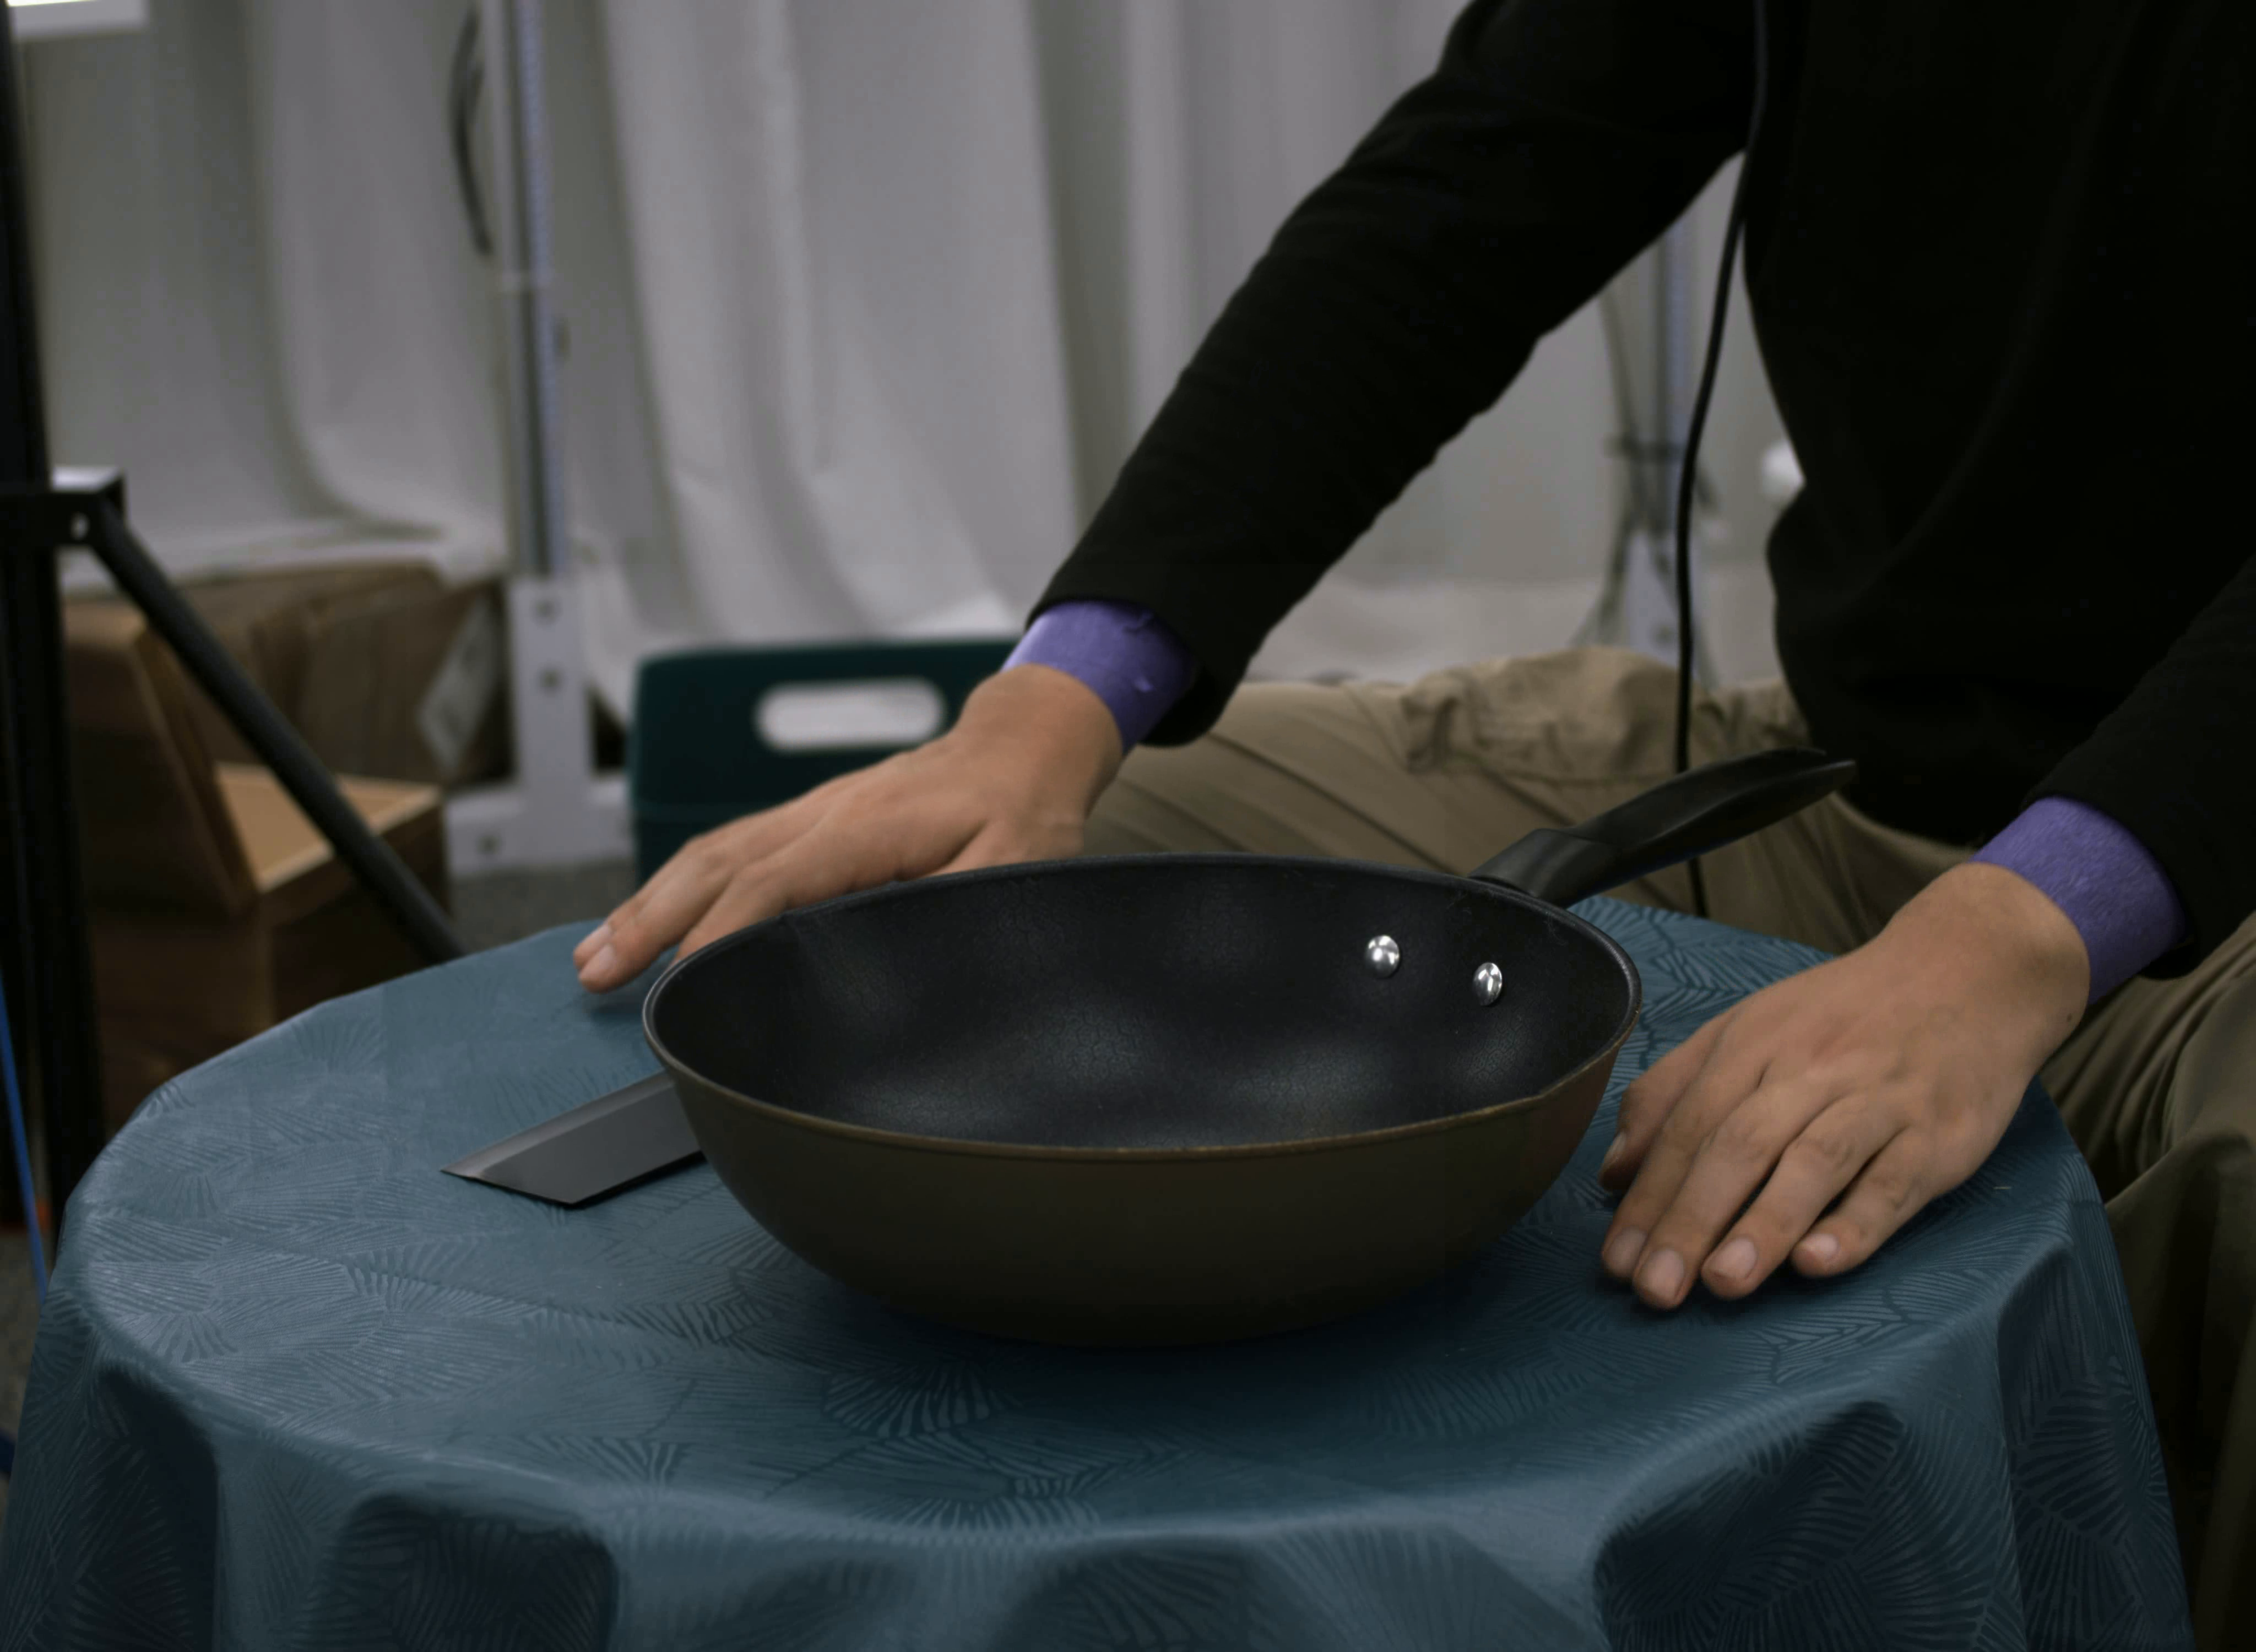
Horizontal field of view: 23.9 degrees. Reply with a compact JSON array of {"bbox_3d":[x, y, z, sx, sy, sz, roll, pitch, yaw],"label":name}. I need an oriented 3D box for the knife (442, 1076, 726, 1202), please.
[{"bbox_3d":[-0.085,0.070,1.681,0.295,0.021,0.083,-19,21,-39],"label":"knife"}]

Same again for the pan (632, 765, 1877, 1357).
[{"bbox_3d":[0.066,0.064,1.550,0.295,0.087,0.453,13,21,43],"label":"pan"}]
